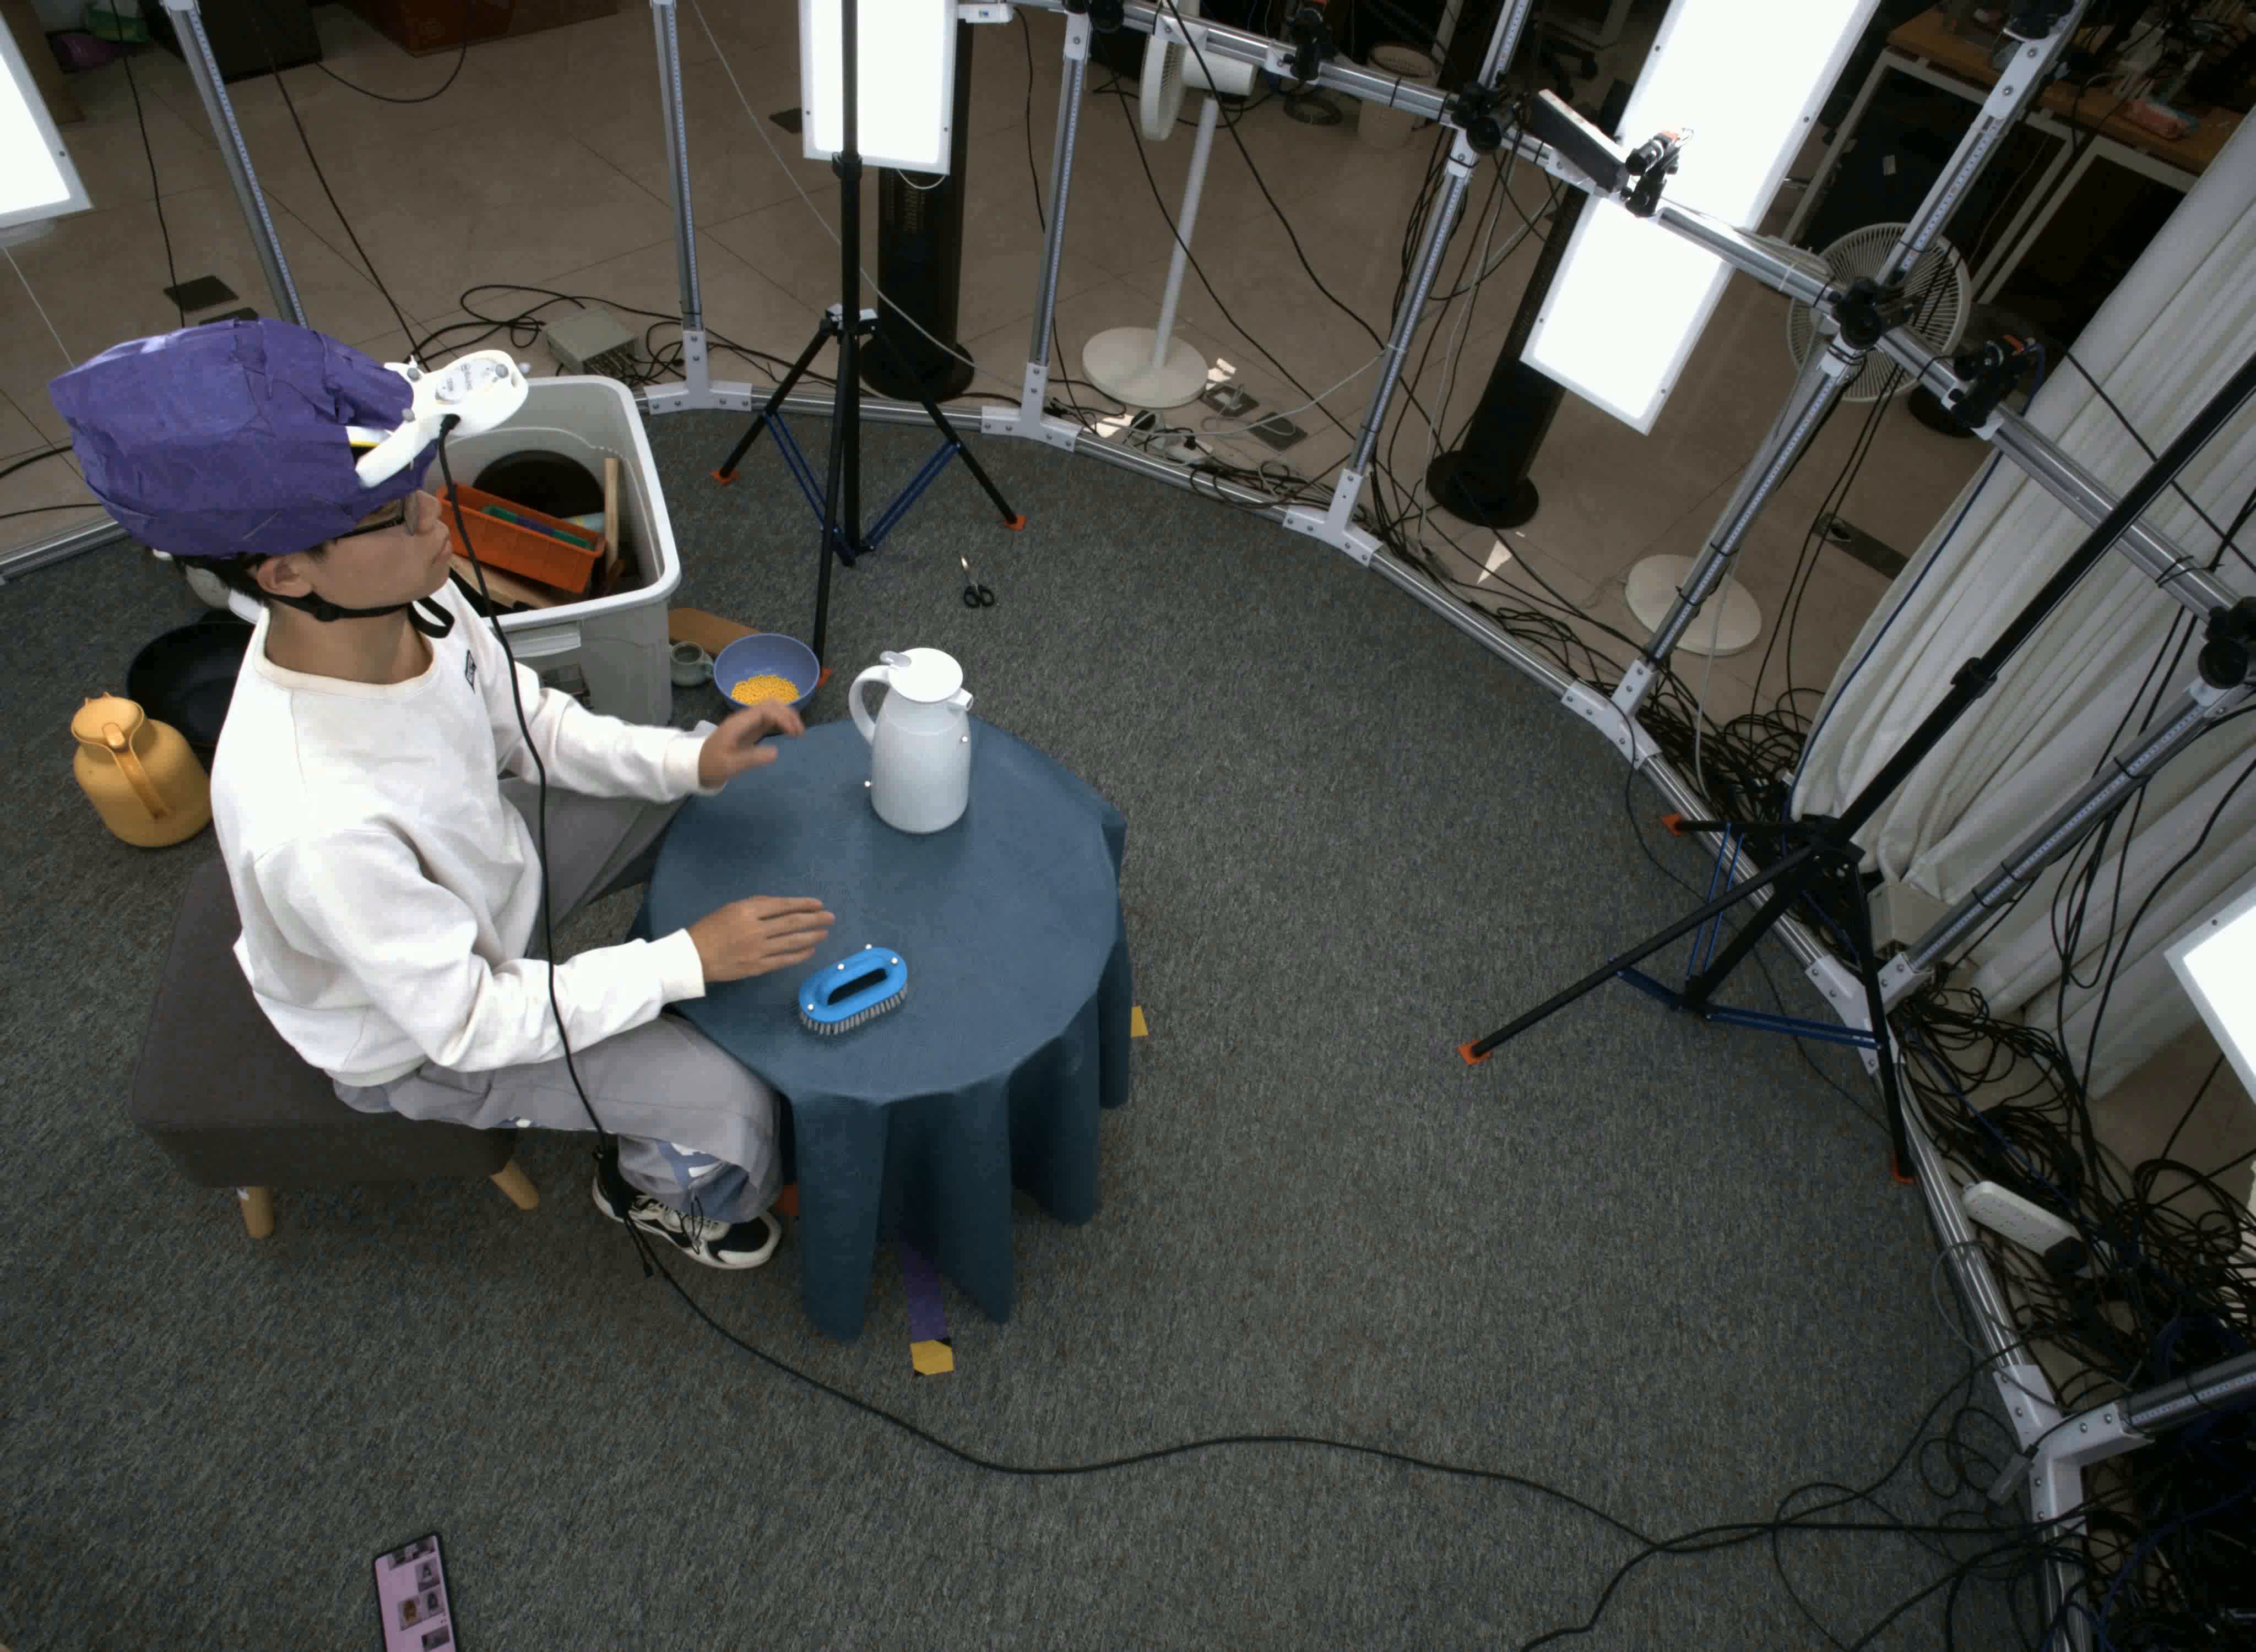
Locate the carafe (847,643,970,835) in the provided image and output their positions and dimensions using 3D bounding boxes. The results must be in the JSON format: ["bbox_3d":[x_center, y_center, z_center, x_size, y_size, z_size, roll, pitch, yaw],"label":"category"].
[{"bbox_3d":[-0.289,-0.125,1.699,0.165,0.254,0.131,20,51,6],"label":"carafe"}]

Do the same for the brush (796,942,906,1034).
[{"bbox_3d":[-0.333,0.188,1.573,0.142,0.065,0.082,-24,66,-26],"label":"brush"}]
